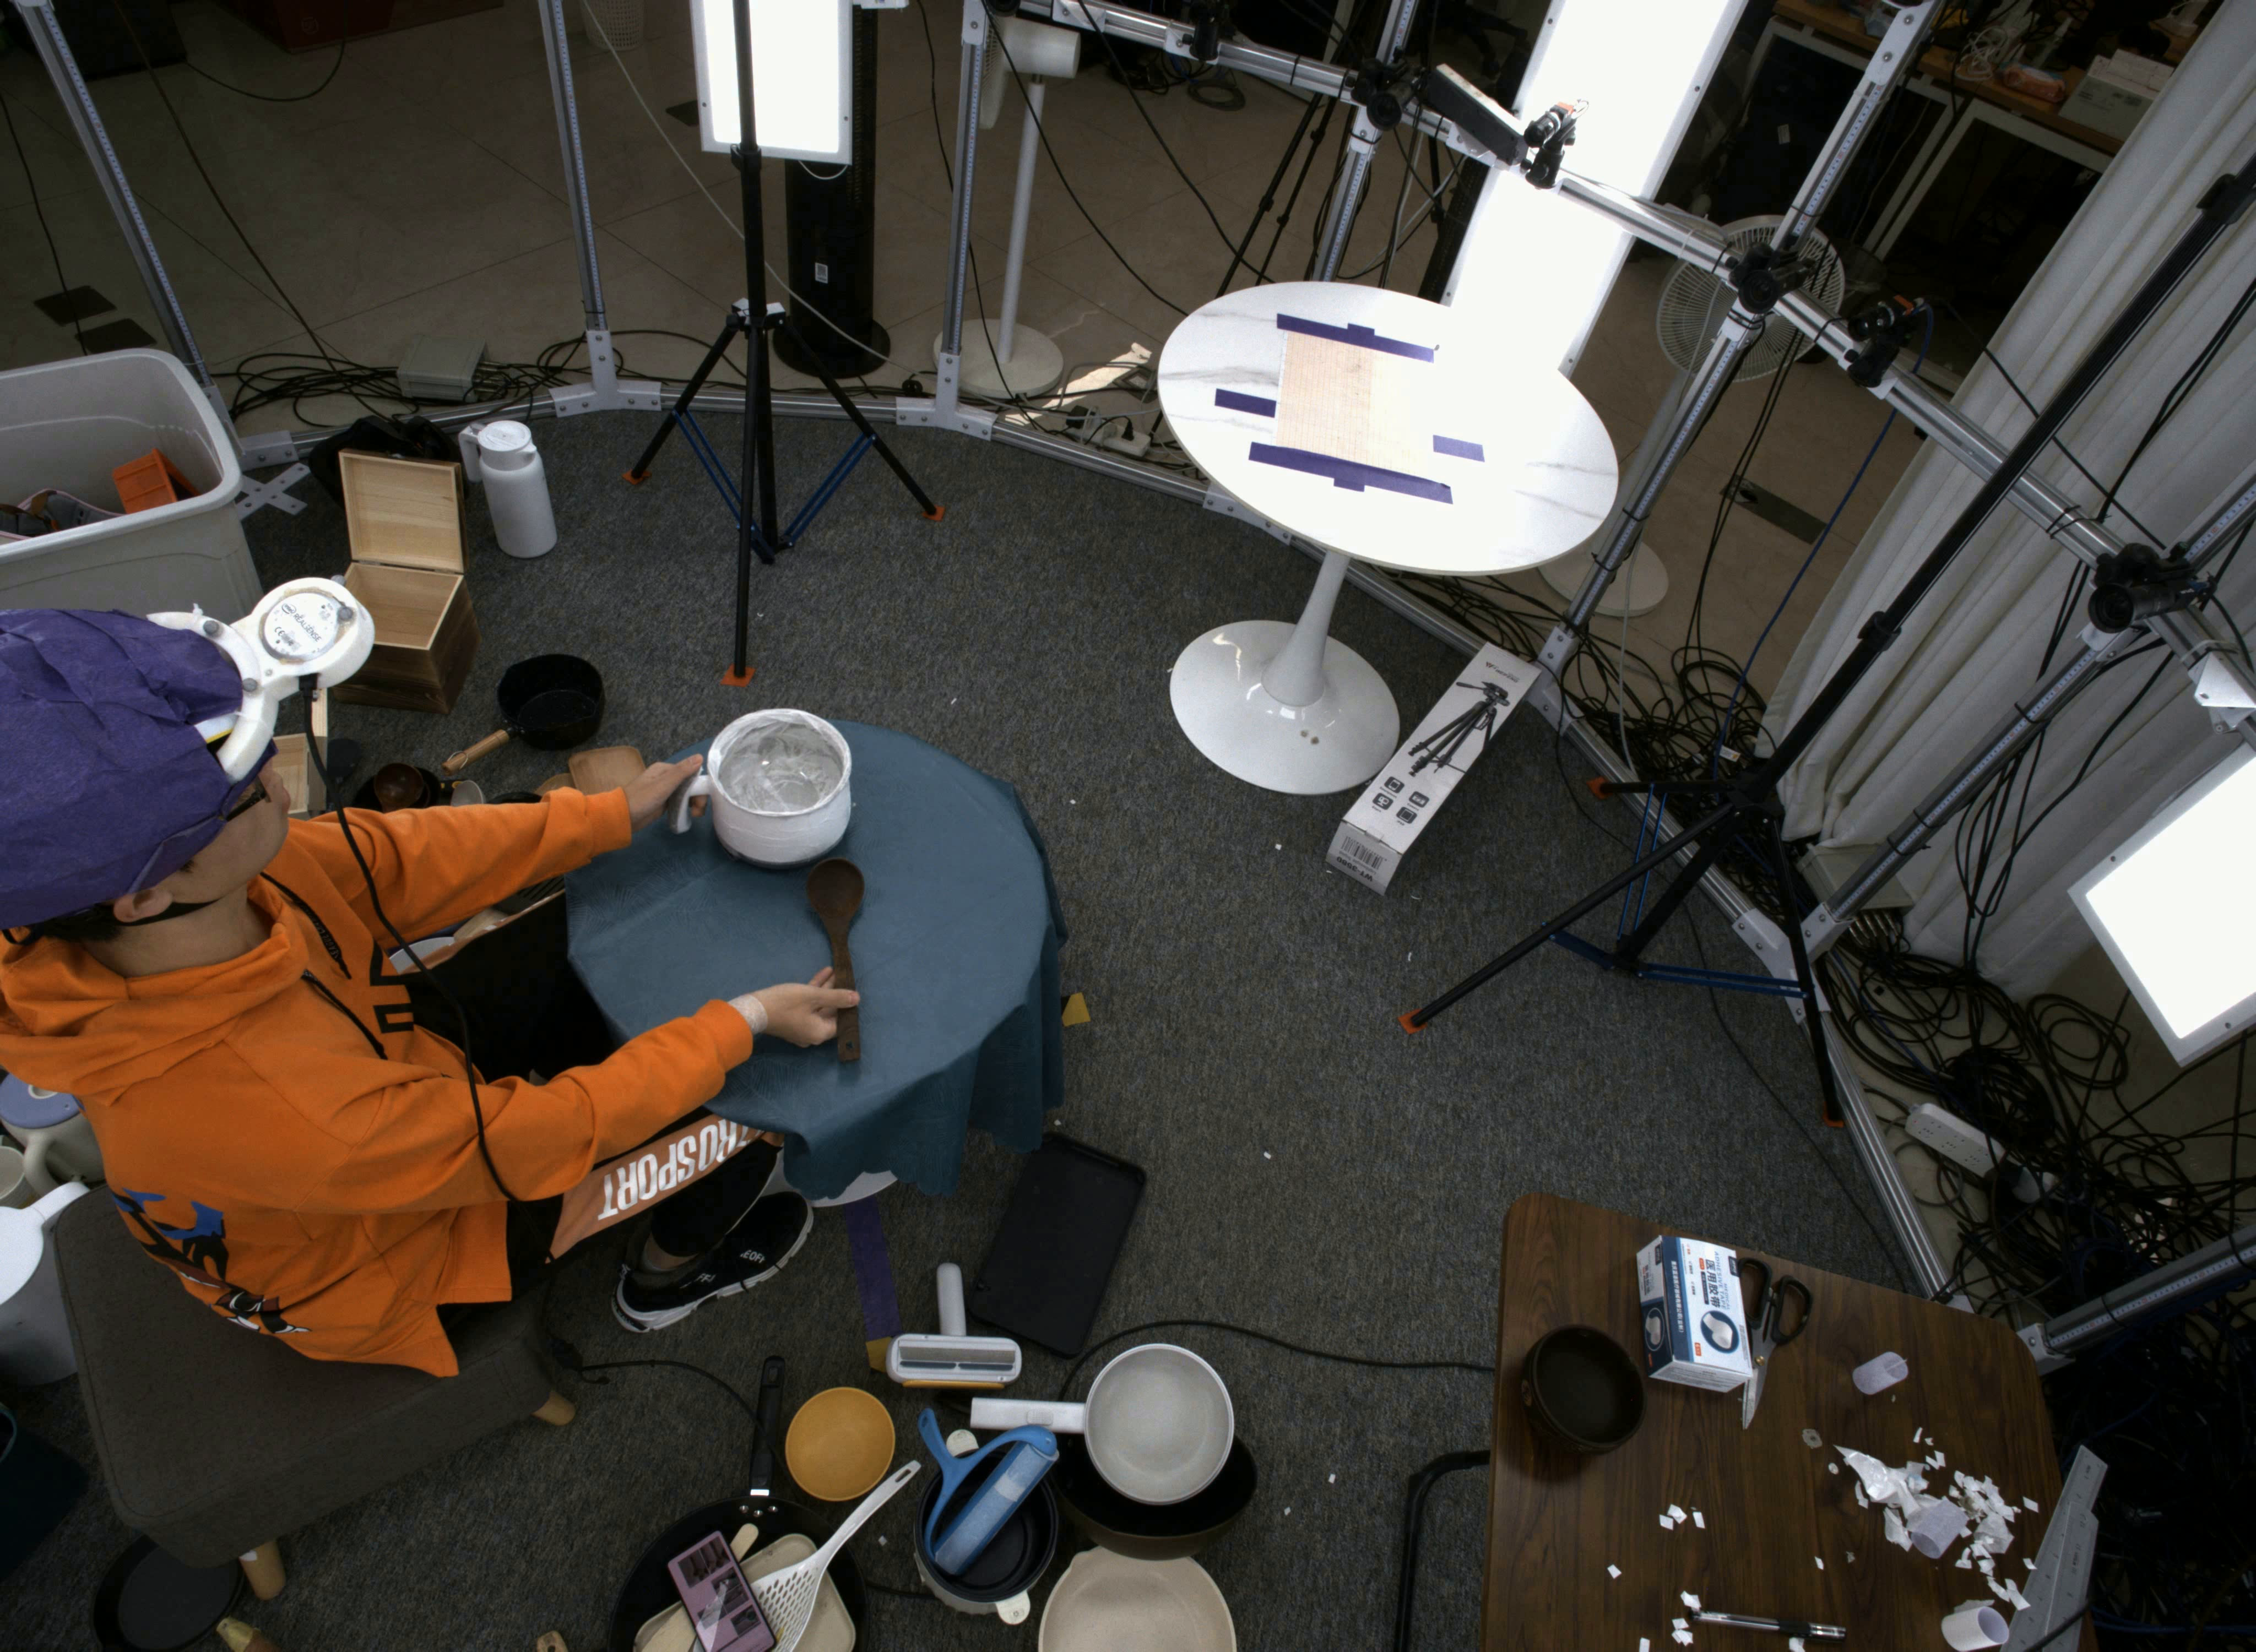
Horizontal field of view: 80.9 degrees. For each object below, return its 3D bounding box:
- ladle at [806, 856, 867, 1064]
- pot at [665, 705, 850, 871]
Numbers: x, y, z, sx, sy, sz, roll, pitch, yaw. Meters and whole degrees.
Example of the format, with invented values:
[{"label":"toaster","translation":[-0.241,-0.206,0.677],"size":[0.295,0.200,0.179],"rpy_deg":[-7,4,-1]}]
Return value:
[{"label":"ladle","translation":[-0.343,0.151,1.565],"size":[0.076,0.073,0.266],"rpy_deg":[-2,46,-18]},{"label":"pot","translation":[-0.472,-0.042,1.643],"size":[0.235,0.139,0.174],"rpy_deg":[-7,54,-20]}]
